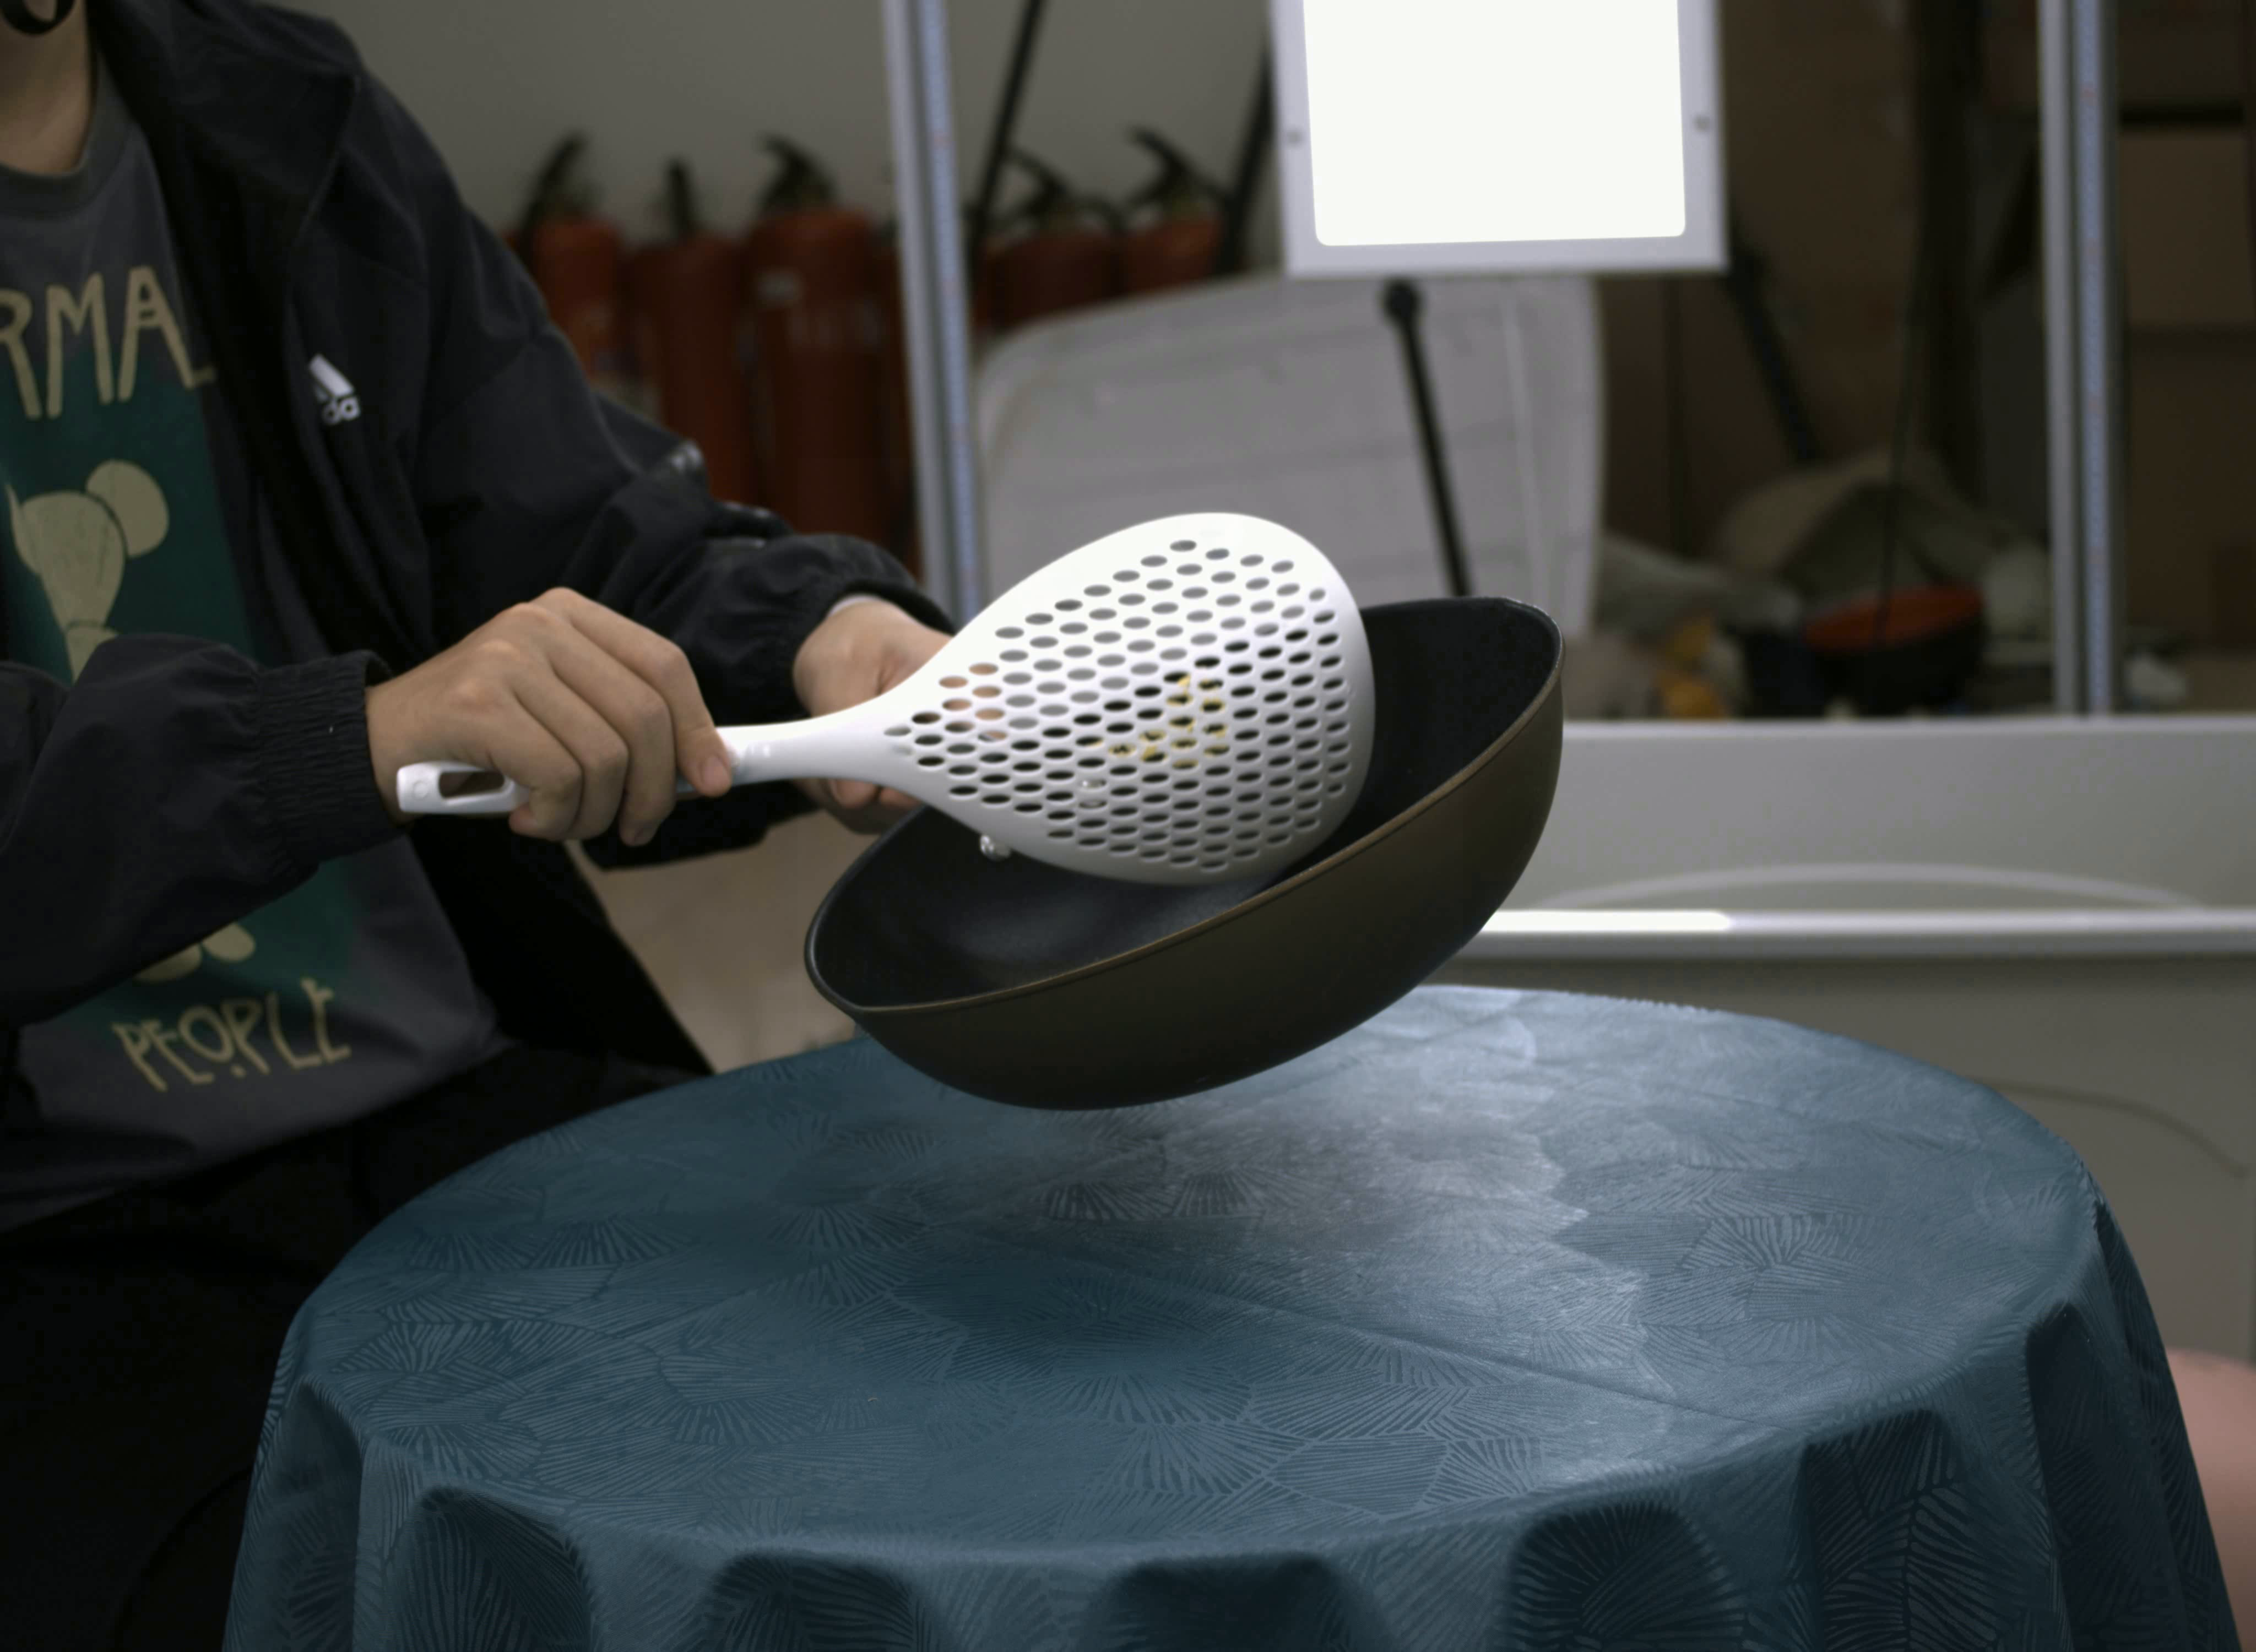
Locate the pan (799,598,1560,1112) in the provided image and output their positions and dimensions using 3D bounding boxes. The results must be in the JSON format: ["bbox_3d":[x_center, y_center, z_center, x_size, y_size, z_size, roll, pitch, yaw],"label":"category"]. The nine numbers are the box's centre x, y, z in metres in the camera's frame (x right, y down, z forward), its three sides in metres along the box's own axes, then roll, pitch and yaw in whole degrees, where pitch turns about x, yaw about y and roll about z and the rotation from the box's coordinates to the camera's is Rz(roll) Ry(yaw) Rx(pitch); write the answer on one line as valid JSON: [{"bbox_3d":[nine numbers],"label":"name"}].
[{"bbox_3d":[-0.011,0.013,1.960,0.283,0.087,0.471,-32,18,-20],"label":"pan"}]

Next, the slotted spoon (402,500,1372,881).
[{"bbox_3d":[-0.081,-0.031,1.933,0.345,0.137,0.050,-7,12,-4],"label":"slotted spoon"}]
